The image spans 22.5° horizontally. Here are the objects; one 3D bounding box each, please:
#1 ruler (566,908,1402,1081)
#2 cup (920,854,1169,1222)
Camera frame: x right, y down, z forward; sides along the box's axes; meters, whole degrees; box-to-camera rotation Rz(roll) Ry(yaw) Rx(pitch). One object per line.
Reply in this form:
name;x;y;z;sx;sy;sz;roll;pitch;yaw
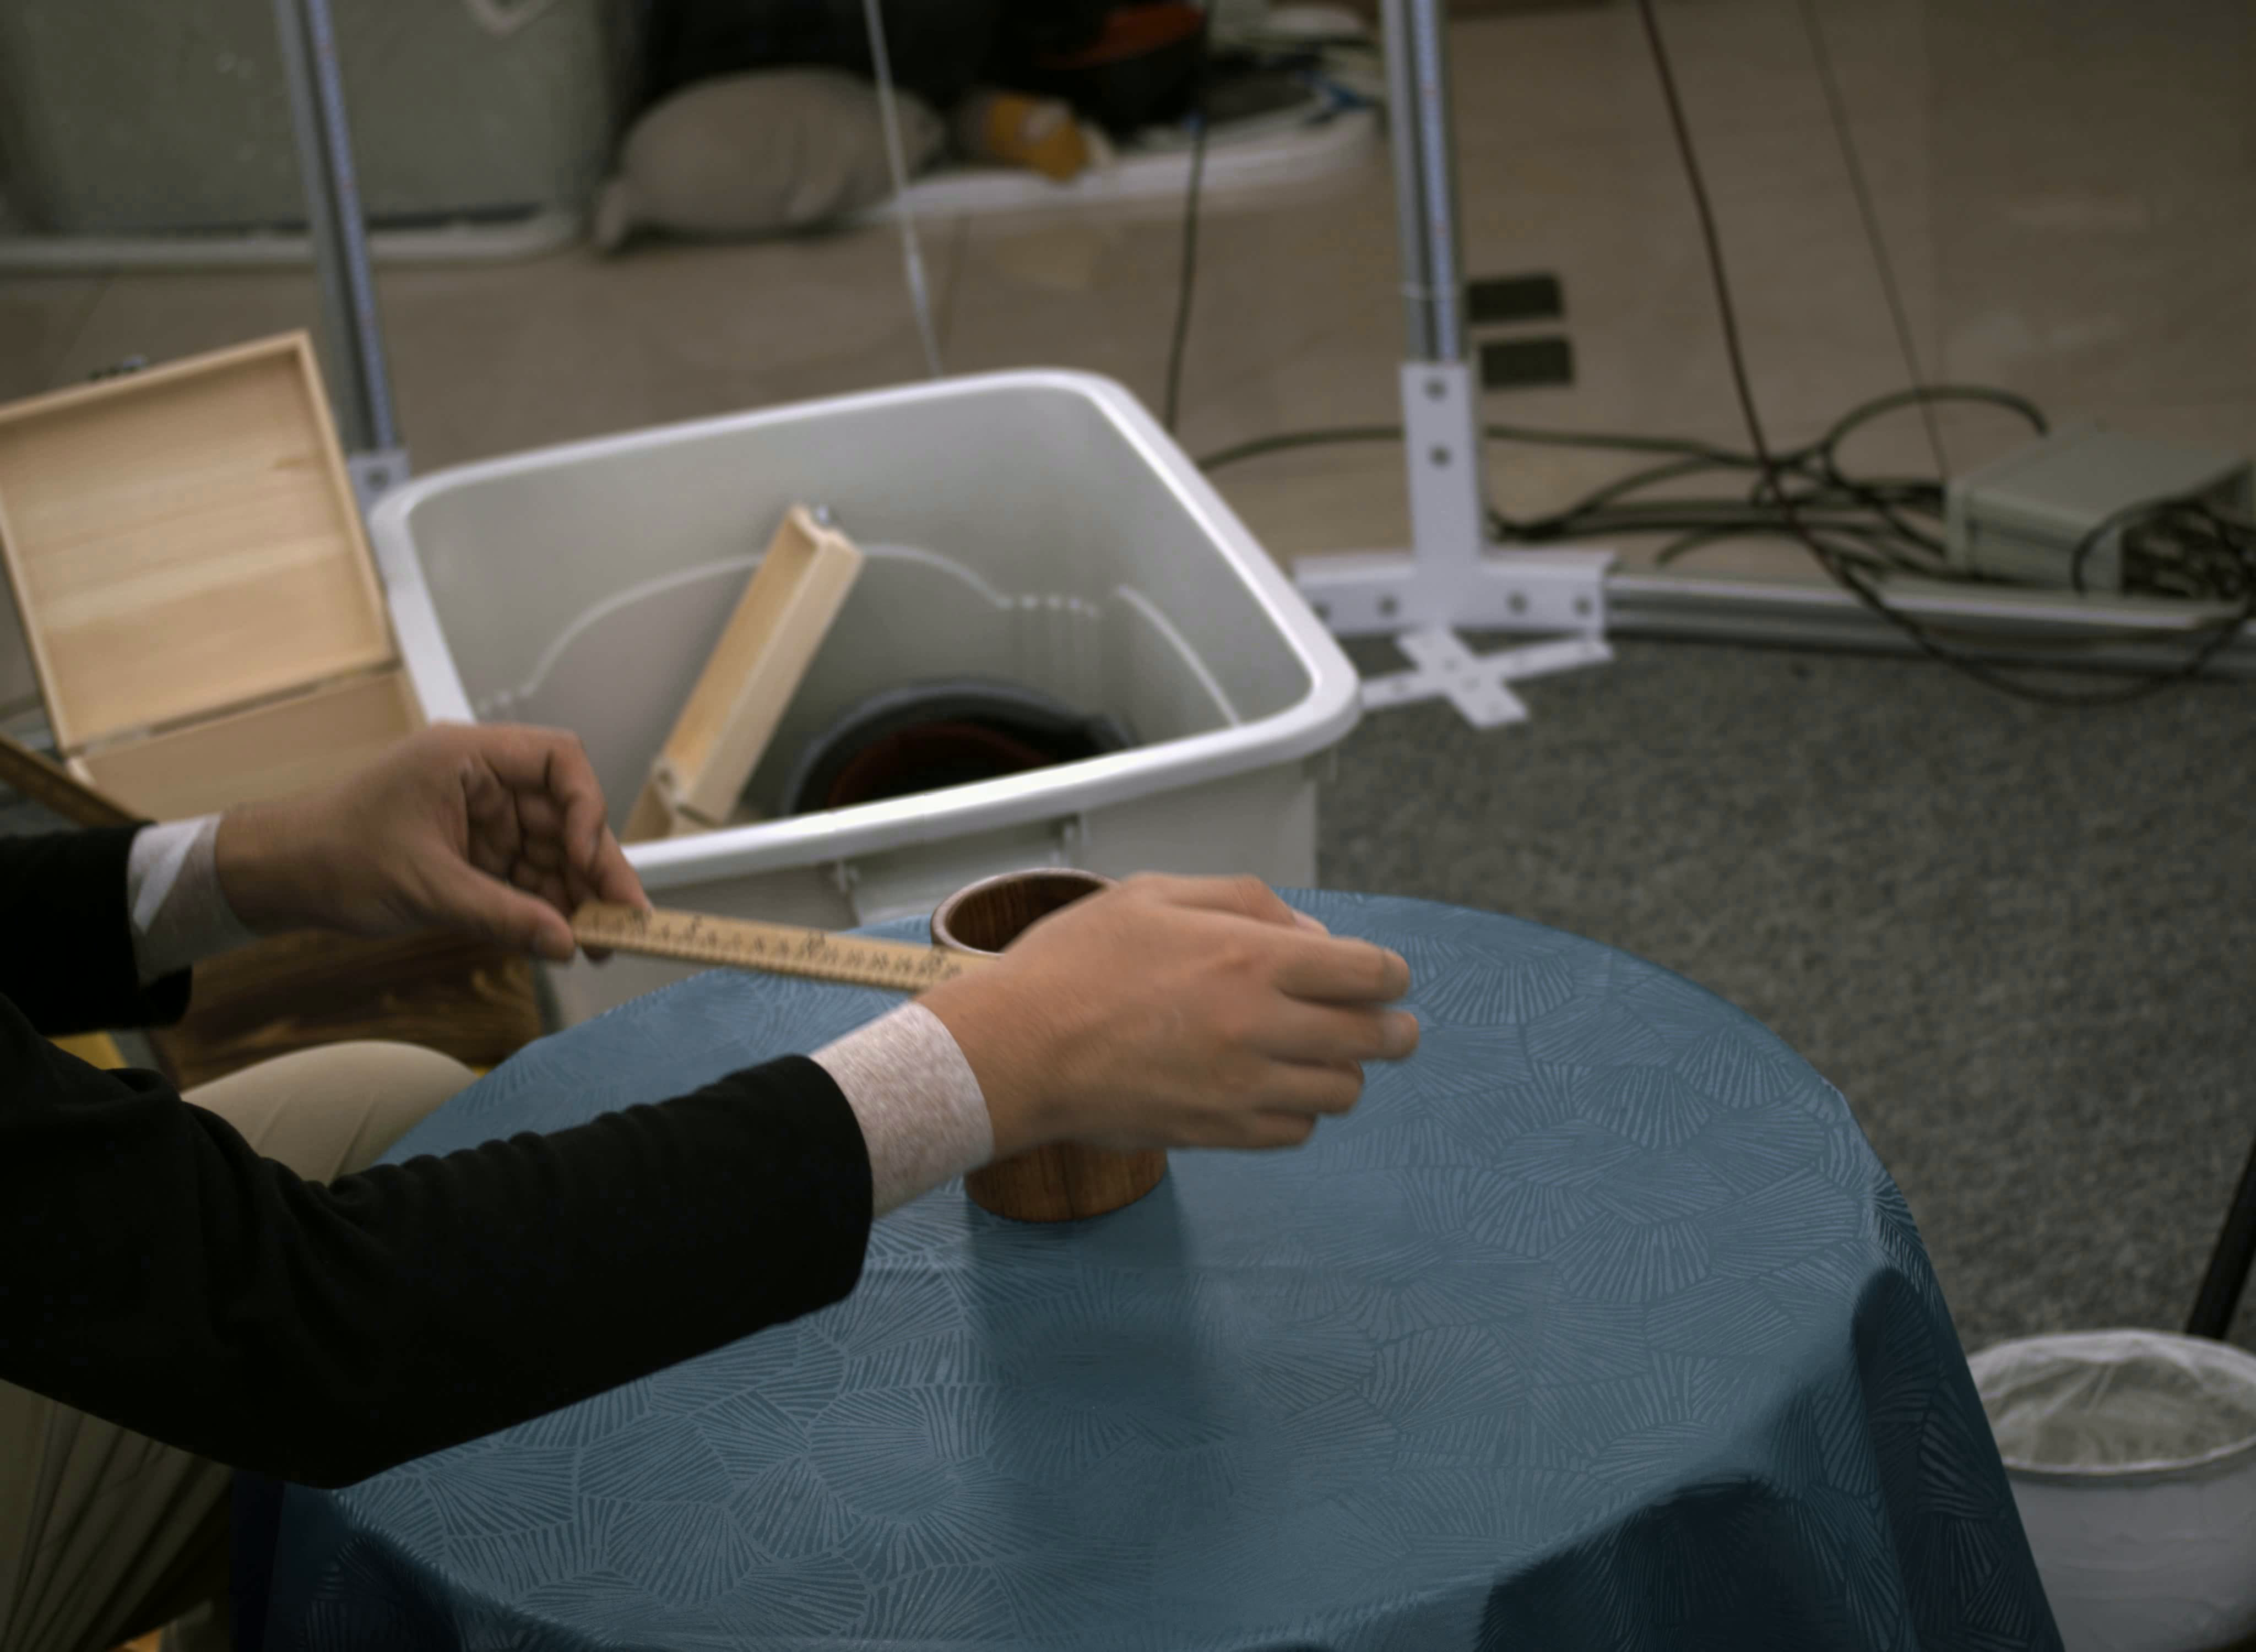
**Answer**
ruler;-0.057;0.058;2.040;0.330;0.022;0.027;8;31;26
cup;-0.029;0.080;2.142;0.087;0.120;0.086;-6;25;3
